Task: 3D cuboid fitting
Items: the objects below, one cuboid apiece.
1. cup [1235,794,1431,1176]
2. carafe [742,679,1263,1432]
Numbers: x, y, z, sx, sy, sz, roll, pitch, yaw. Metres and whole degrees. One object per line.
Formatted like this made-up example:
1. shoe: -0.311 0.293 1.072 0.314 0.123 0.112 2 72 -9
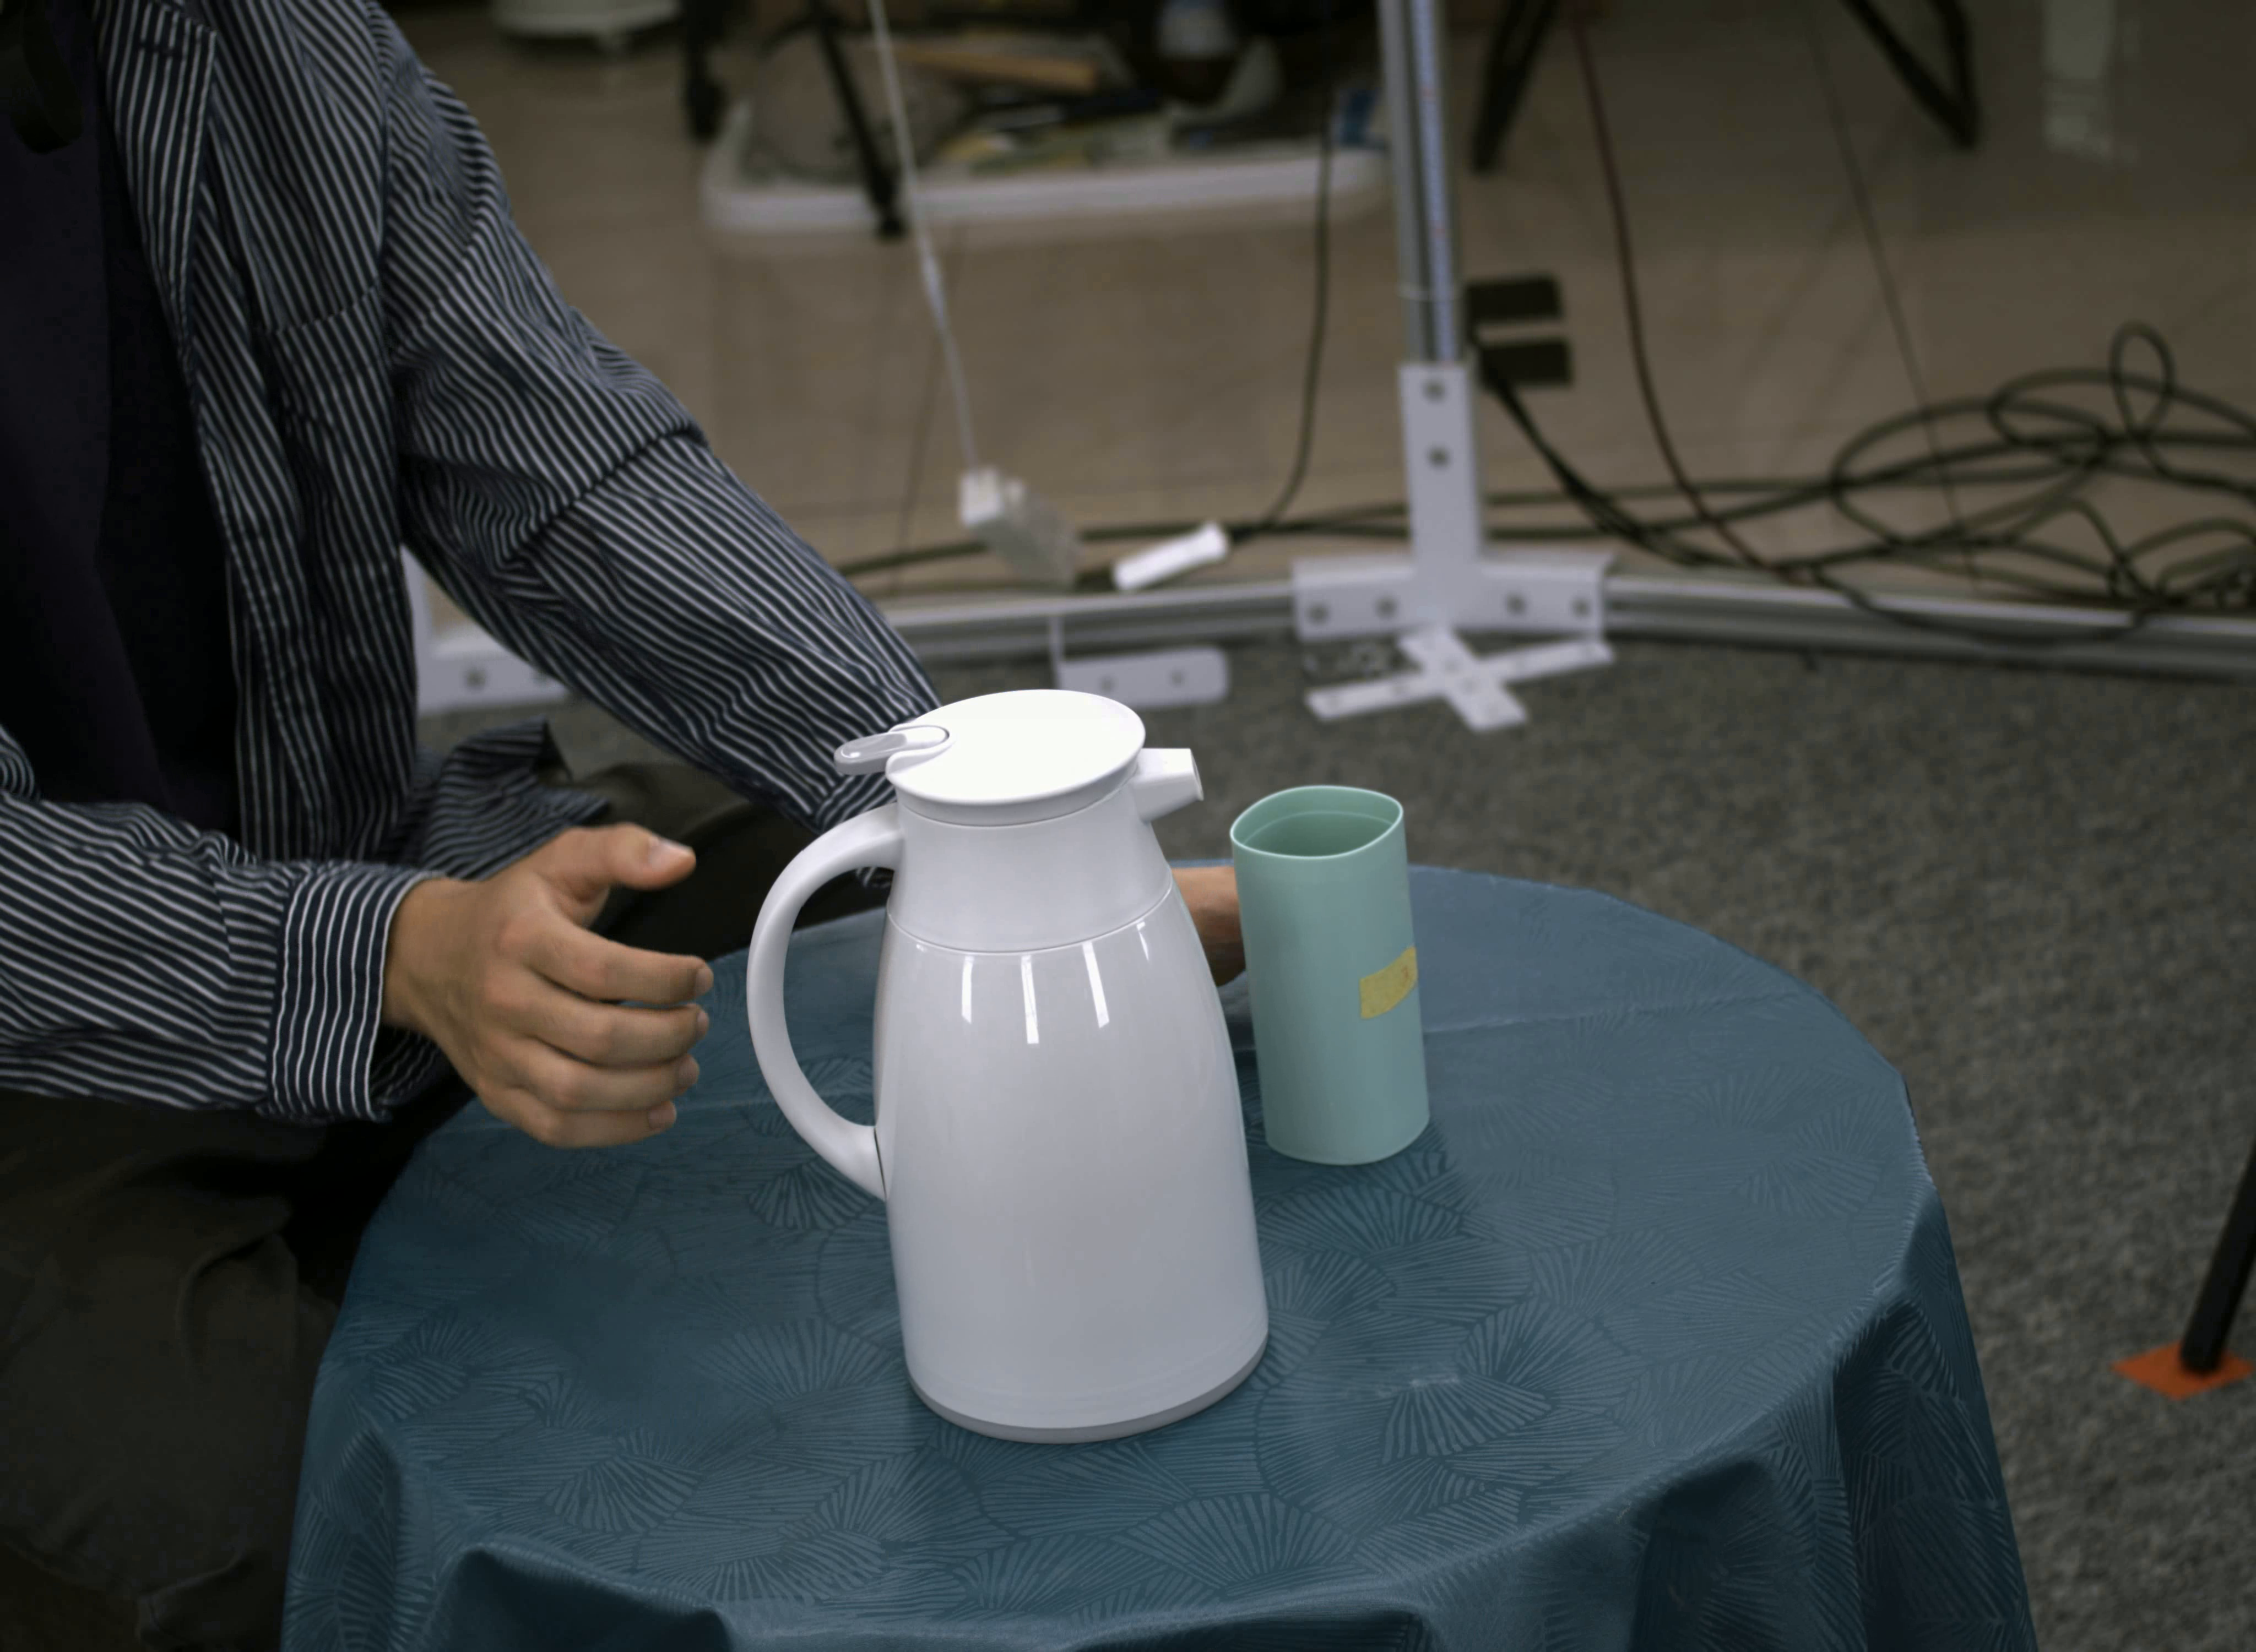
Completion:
1. cup: 0.078 0.060 2.152 0.066 0.134 0.066 -5 27 2
2. carafe: -0.048 0.077 1.989 0.167 0.253 0.130 -9 27 -2
